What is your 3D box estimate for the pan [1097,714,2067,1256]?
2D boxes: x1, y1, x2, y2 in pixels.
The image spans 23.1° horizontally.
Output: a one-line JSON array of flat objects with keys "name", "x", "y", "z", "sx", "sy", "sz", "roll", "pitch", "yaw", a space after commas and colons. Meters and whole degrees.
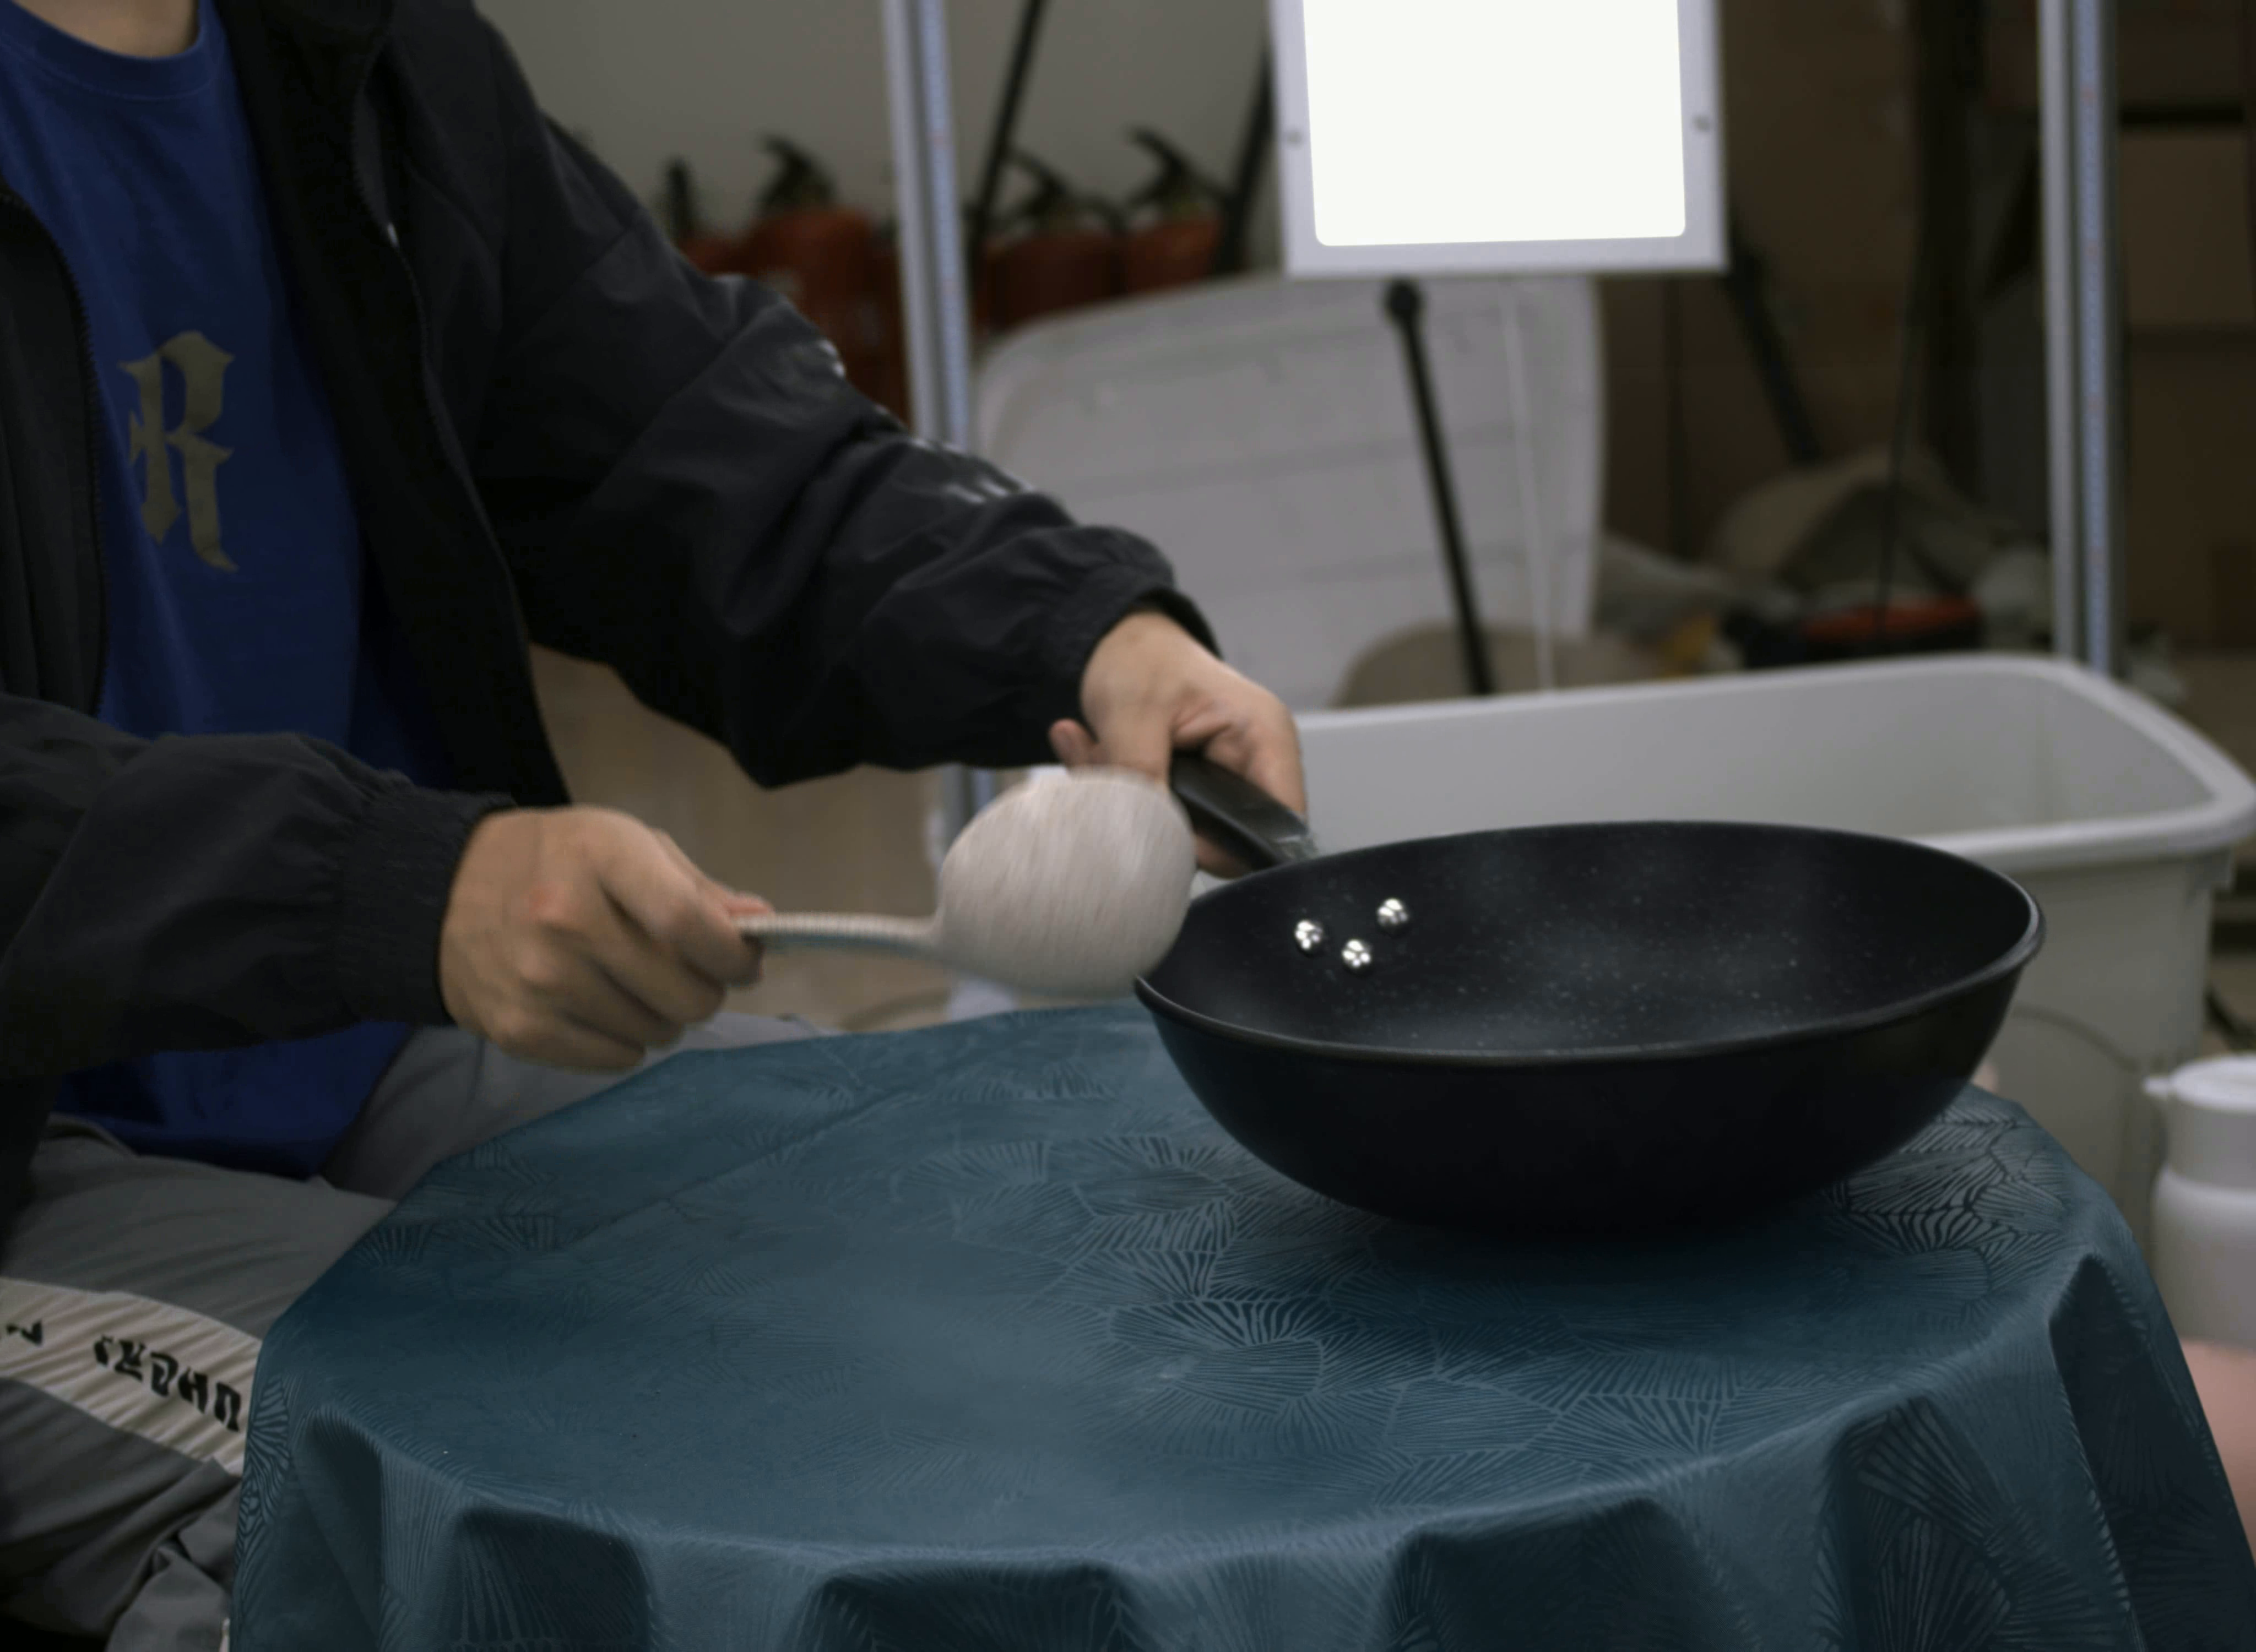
[{"name": "pan", "x": 0.120, "y": 0.053, "z": 1.916, "sx": 0.303, "sy": 0.112, "sz": 0.485, "roll": -10, "pitch": 15, "yaw": -28}]

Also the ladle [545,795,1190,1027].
[{"name": "ladle", "x": -0.093, "y": 0.026, "z": 1.767, "sx": 0.087, "sy": 0.069, "sz": 0.281, "roll": 25, "pitch": -16, "yaw": -39}]
